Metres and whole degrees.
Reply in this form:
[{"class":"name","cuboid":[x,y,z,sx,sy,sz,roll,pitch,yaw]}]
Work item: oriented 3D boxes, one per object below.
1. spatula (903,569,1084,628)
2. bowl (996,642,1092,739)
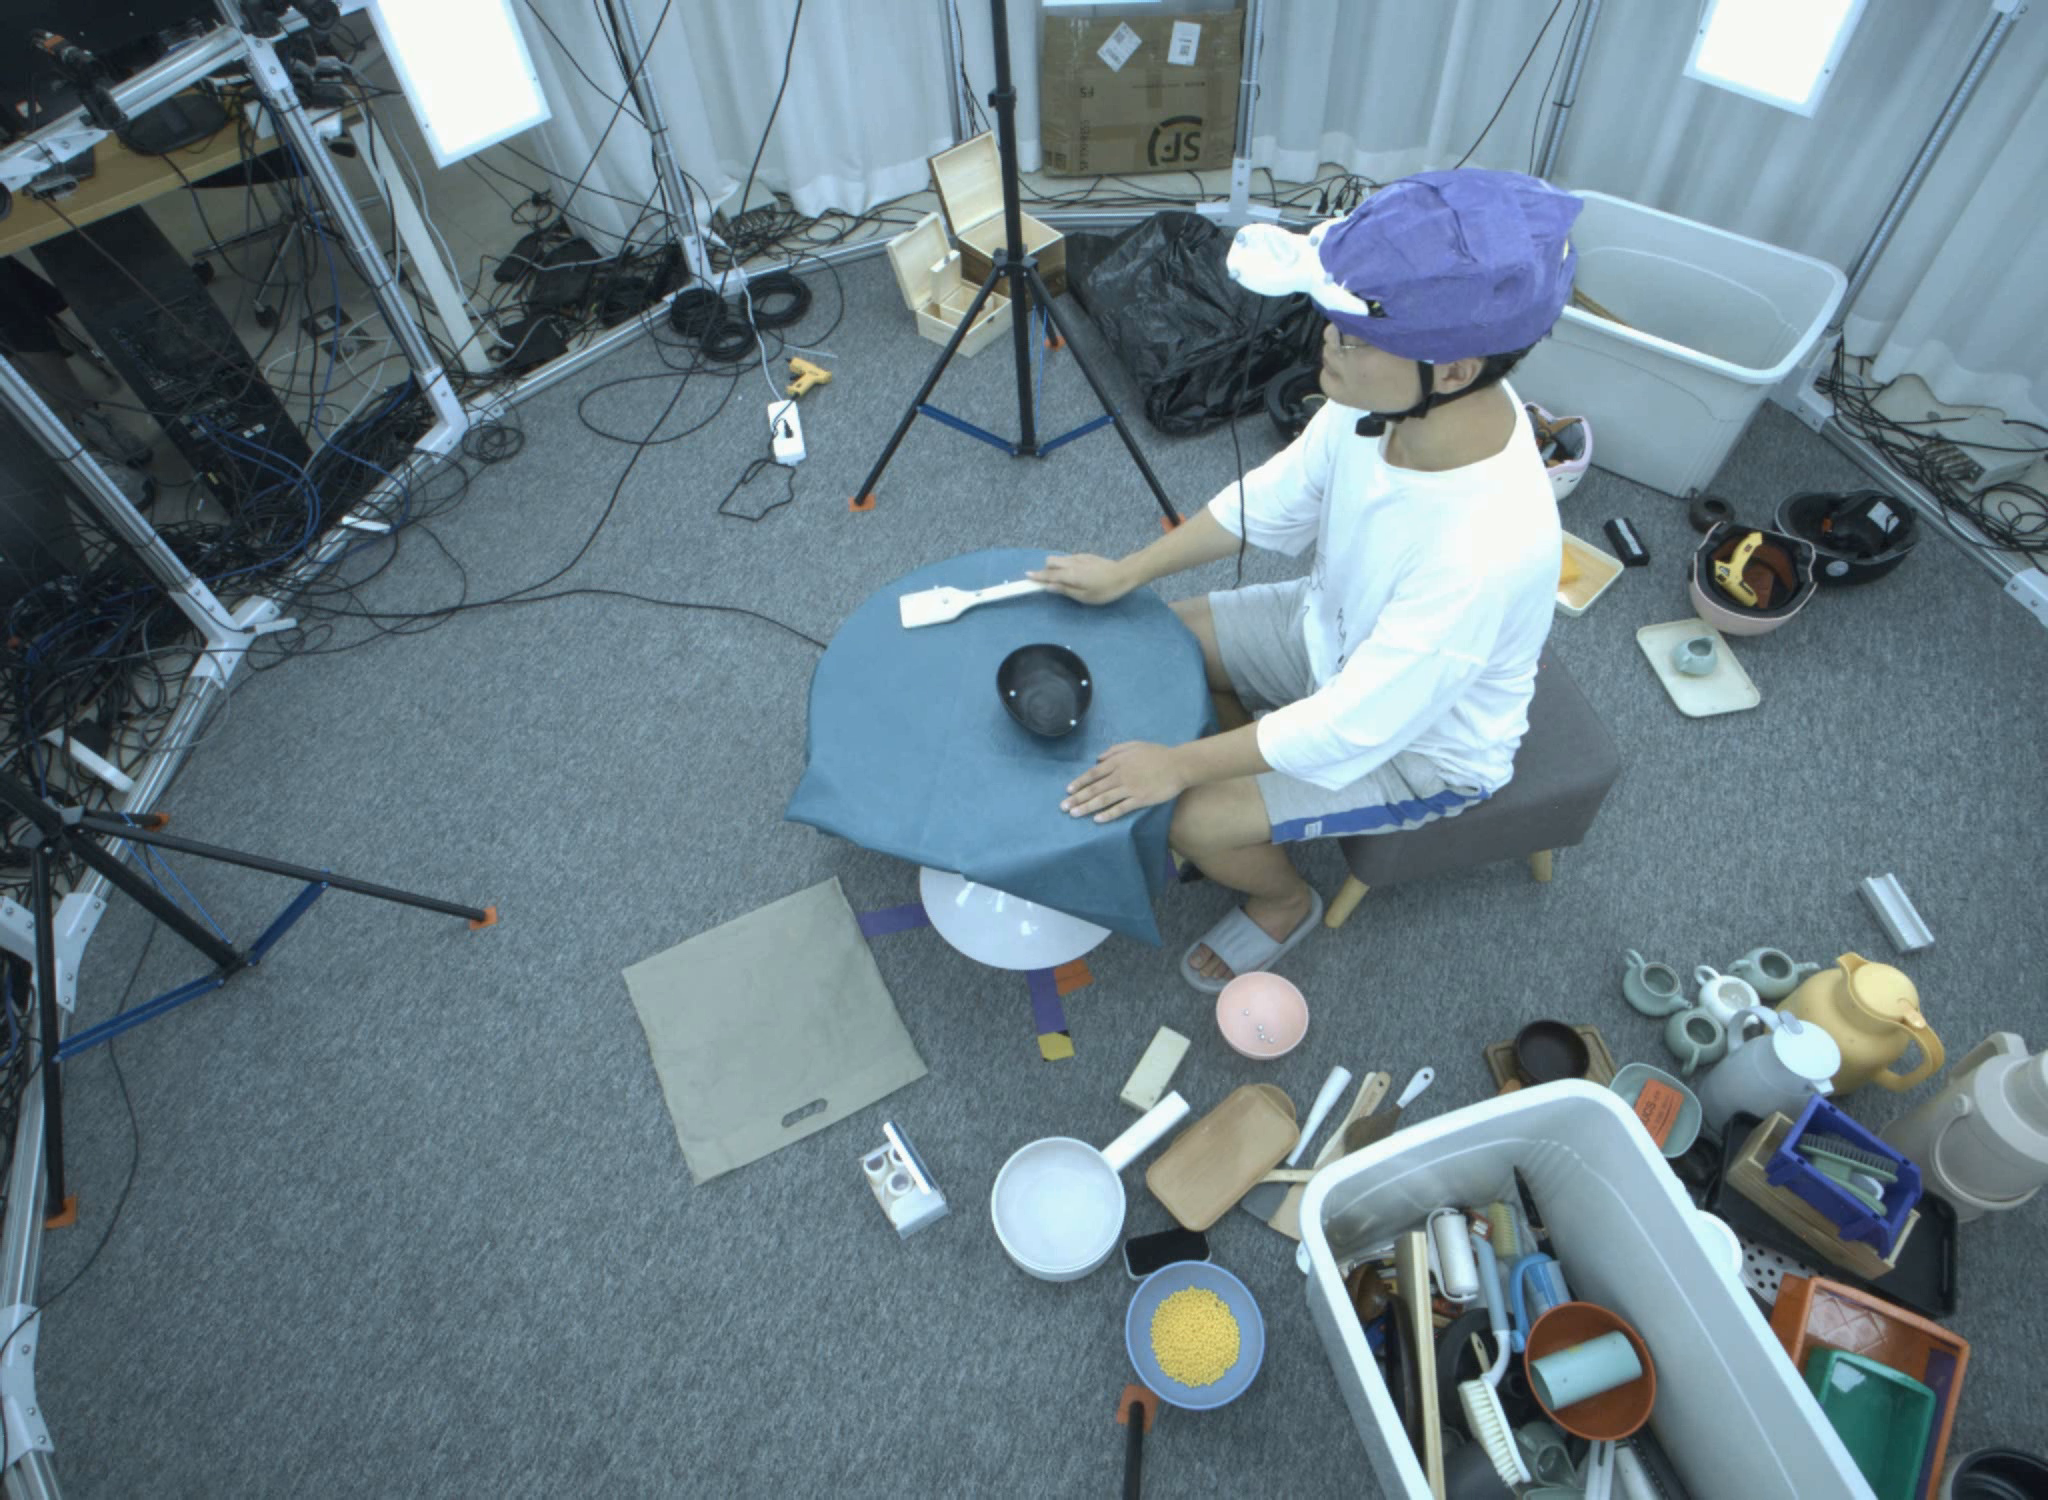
[{"class":"spatula","cuboid":[-0.049,-0.249,1.944,0.293,0.011,0.071,-12,54,1]},{"class":"bowl","cuboid":[0.031,-0.079,1.801,0.138,0.067,0.167,-16,57,-10]}]
